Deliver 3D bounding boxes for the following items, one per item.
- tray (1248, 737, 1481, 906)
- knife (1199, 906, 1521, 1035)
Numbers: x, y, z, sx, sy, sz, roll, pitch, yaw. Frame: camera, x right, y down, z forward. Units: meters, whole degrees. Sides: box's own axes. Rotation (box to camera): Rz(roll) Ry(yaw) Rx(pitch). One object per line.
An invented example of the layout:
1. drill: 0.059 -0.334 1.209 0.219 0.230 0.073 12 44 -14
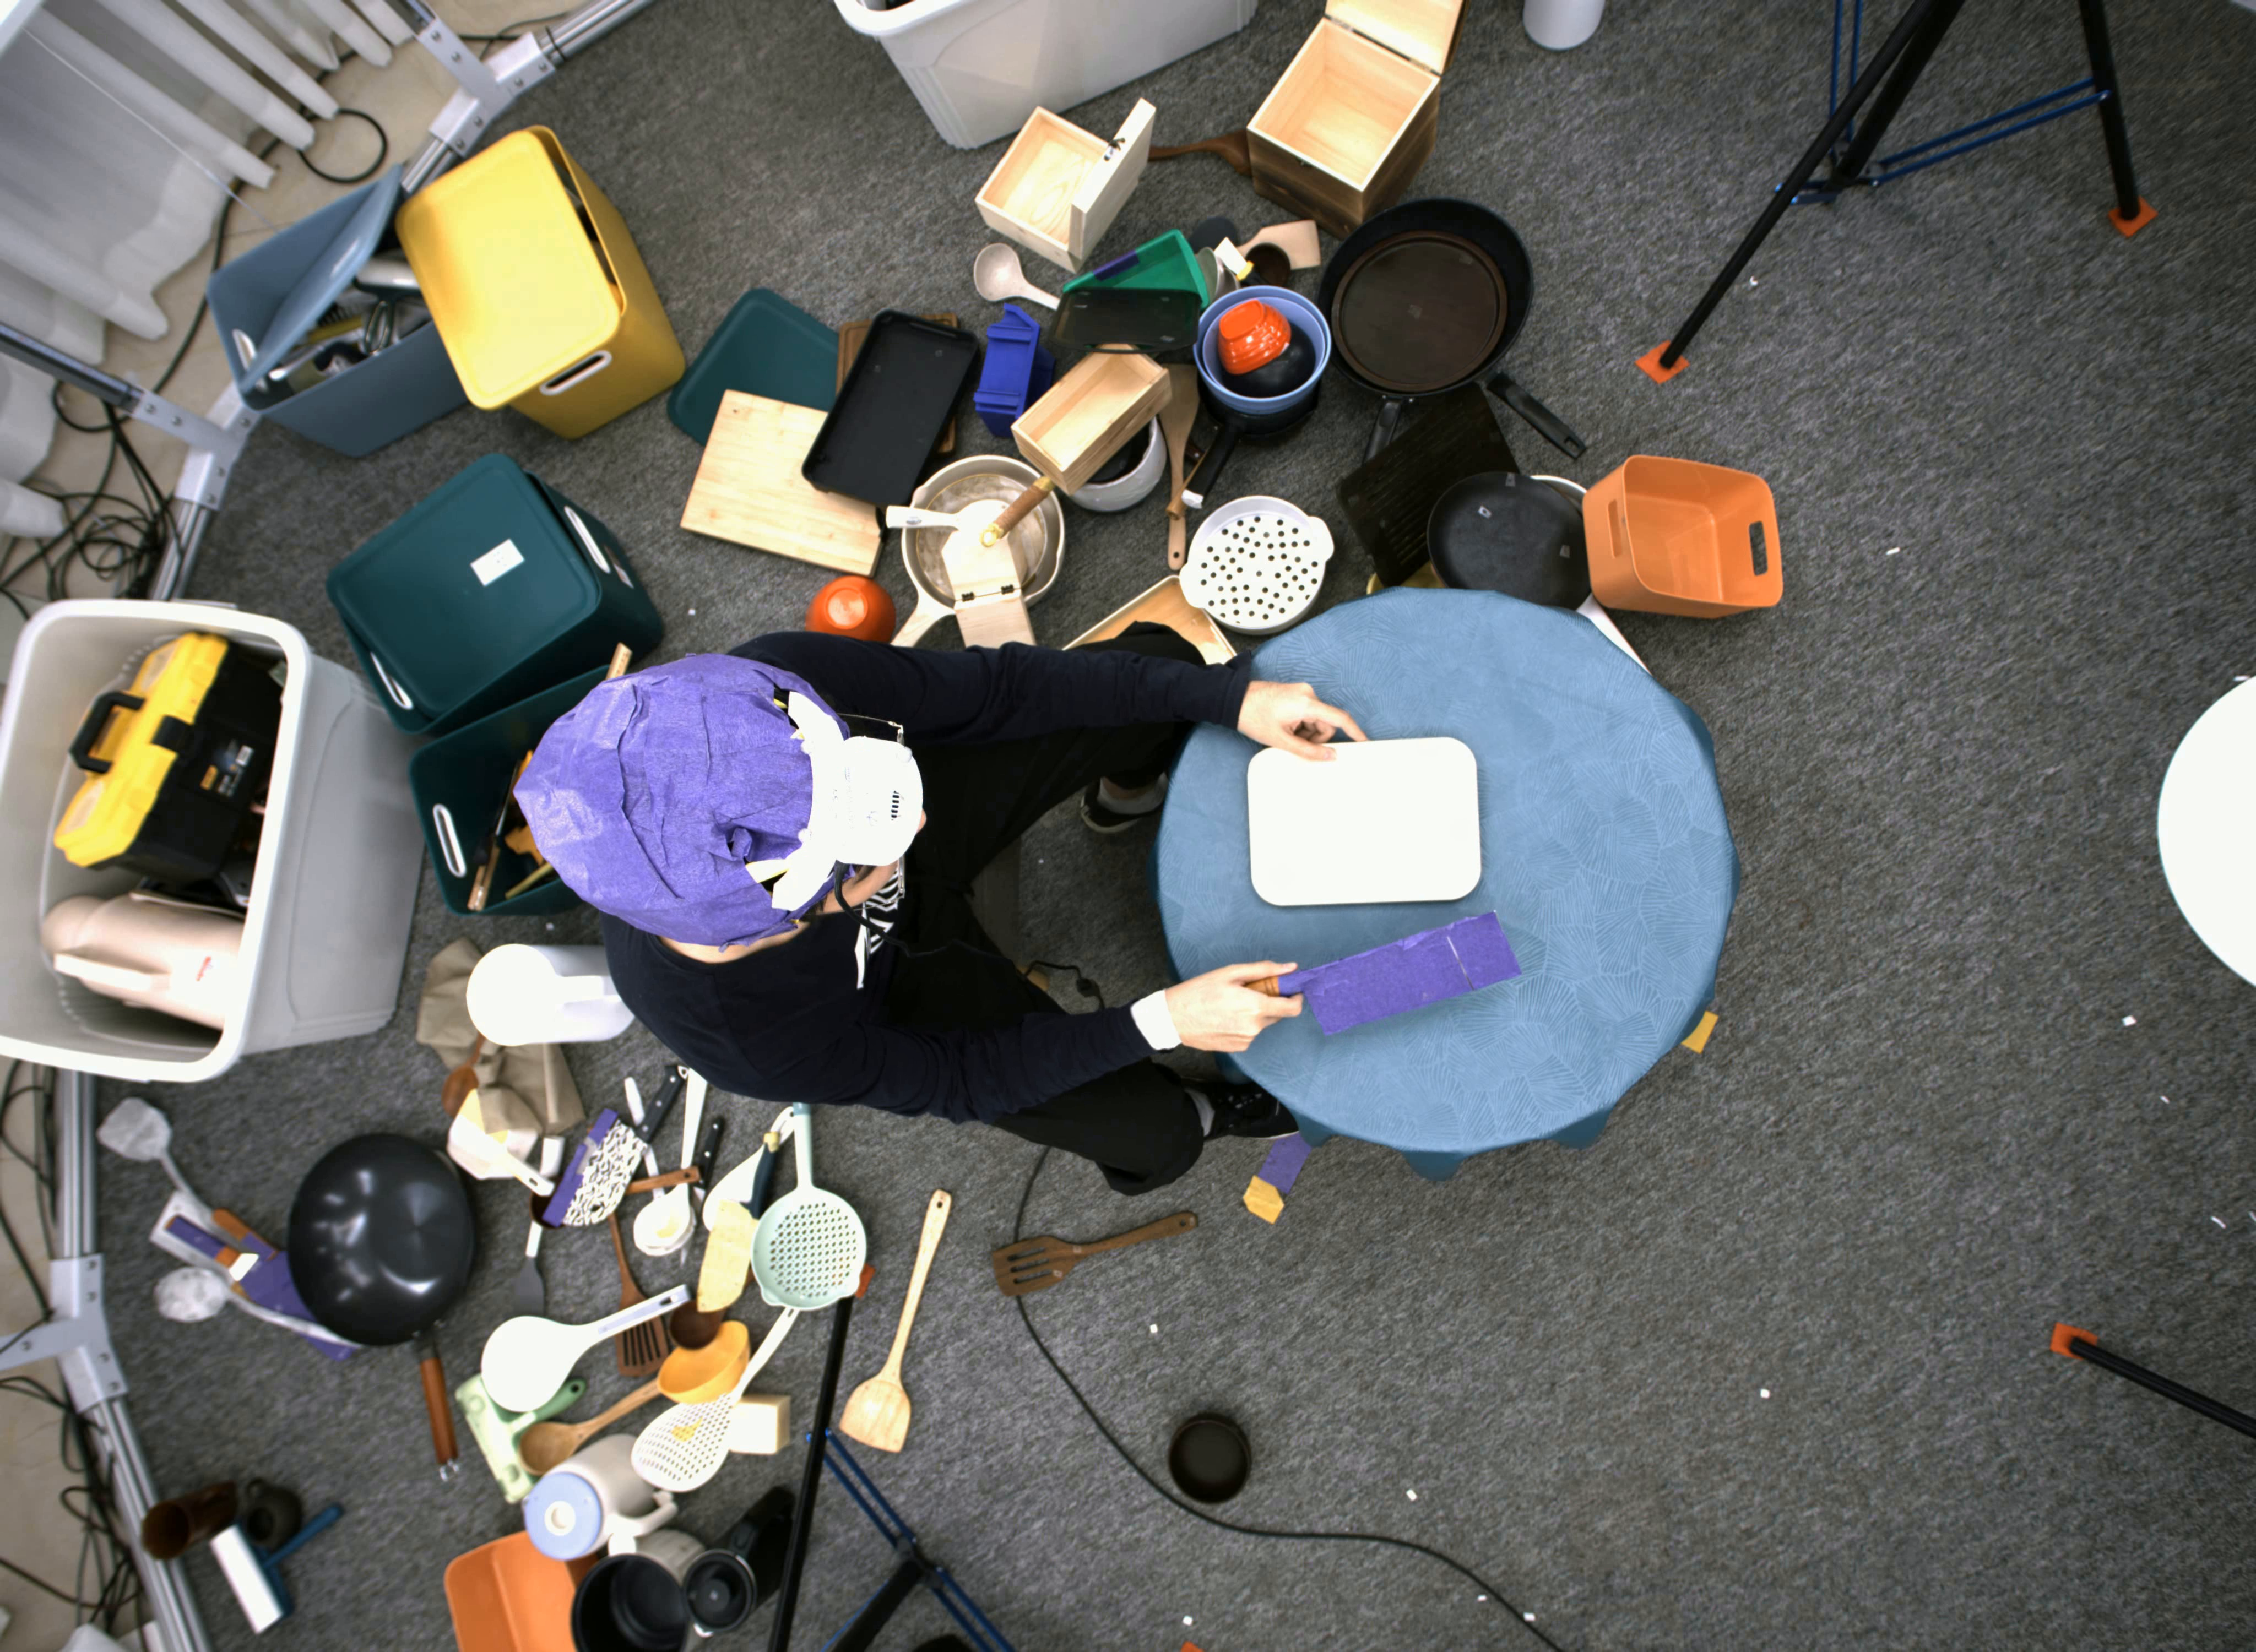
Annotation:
1. tray: 0.248 -0.005 1.455 0.240 0.017 0.171 -2 91 10
2. knife: 0.230 0.163 1.378 0.318 0.031 0.105 -19 122 19
